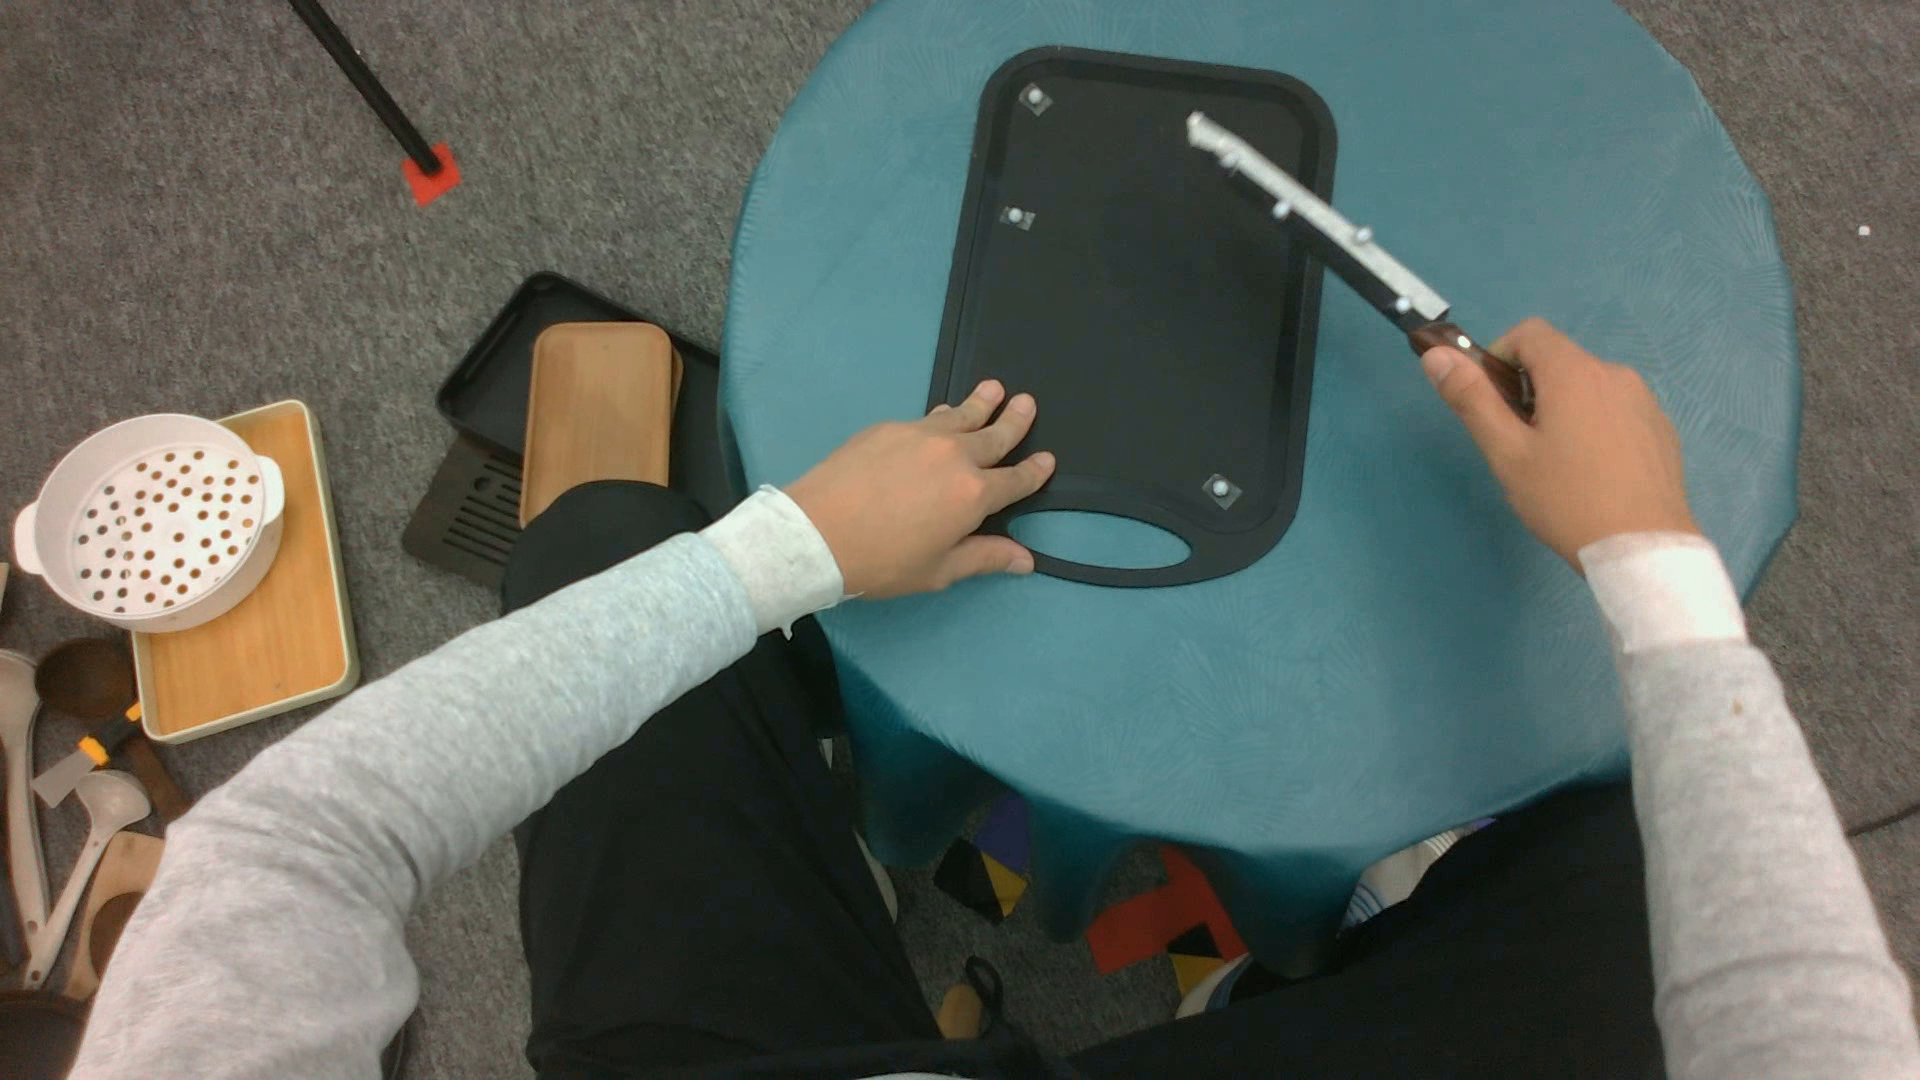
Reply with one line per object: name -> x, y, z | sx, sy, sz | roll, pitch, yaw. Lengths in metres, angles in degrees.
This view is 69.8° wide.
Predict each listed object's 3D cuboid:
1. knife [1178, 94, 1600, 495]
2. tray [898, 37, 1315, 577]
knife -> 0.212, -0.131, 0.698 | 0.289, 0.020, 0.050 | 47, 48, 10
tray -> 0.085, -0.138, 0.776 | 0.211, 0.010, 0.326 | 8, 75, 3
